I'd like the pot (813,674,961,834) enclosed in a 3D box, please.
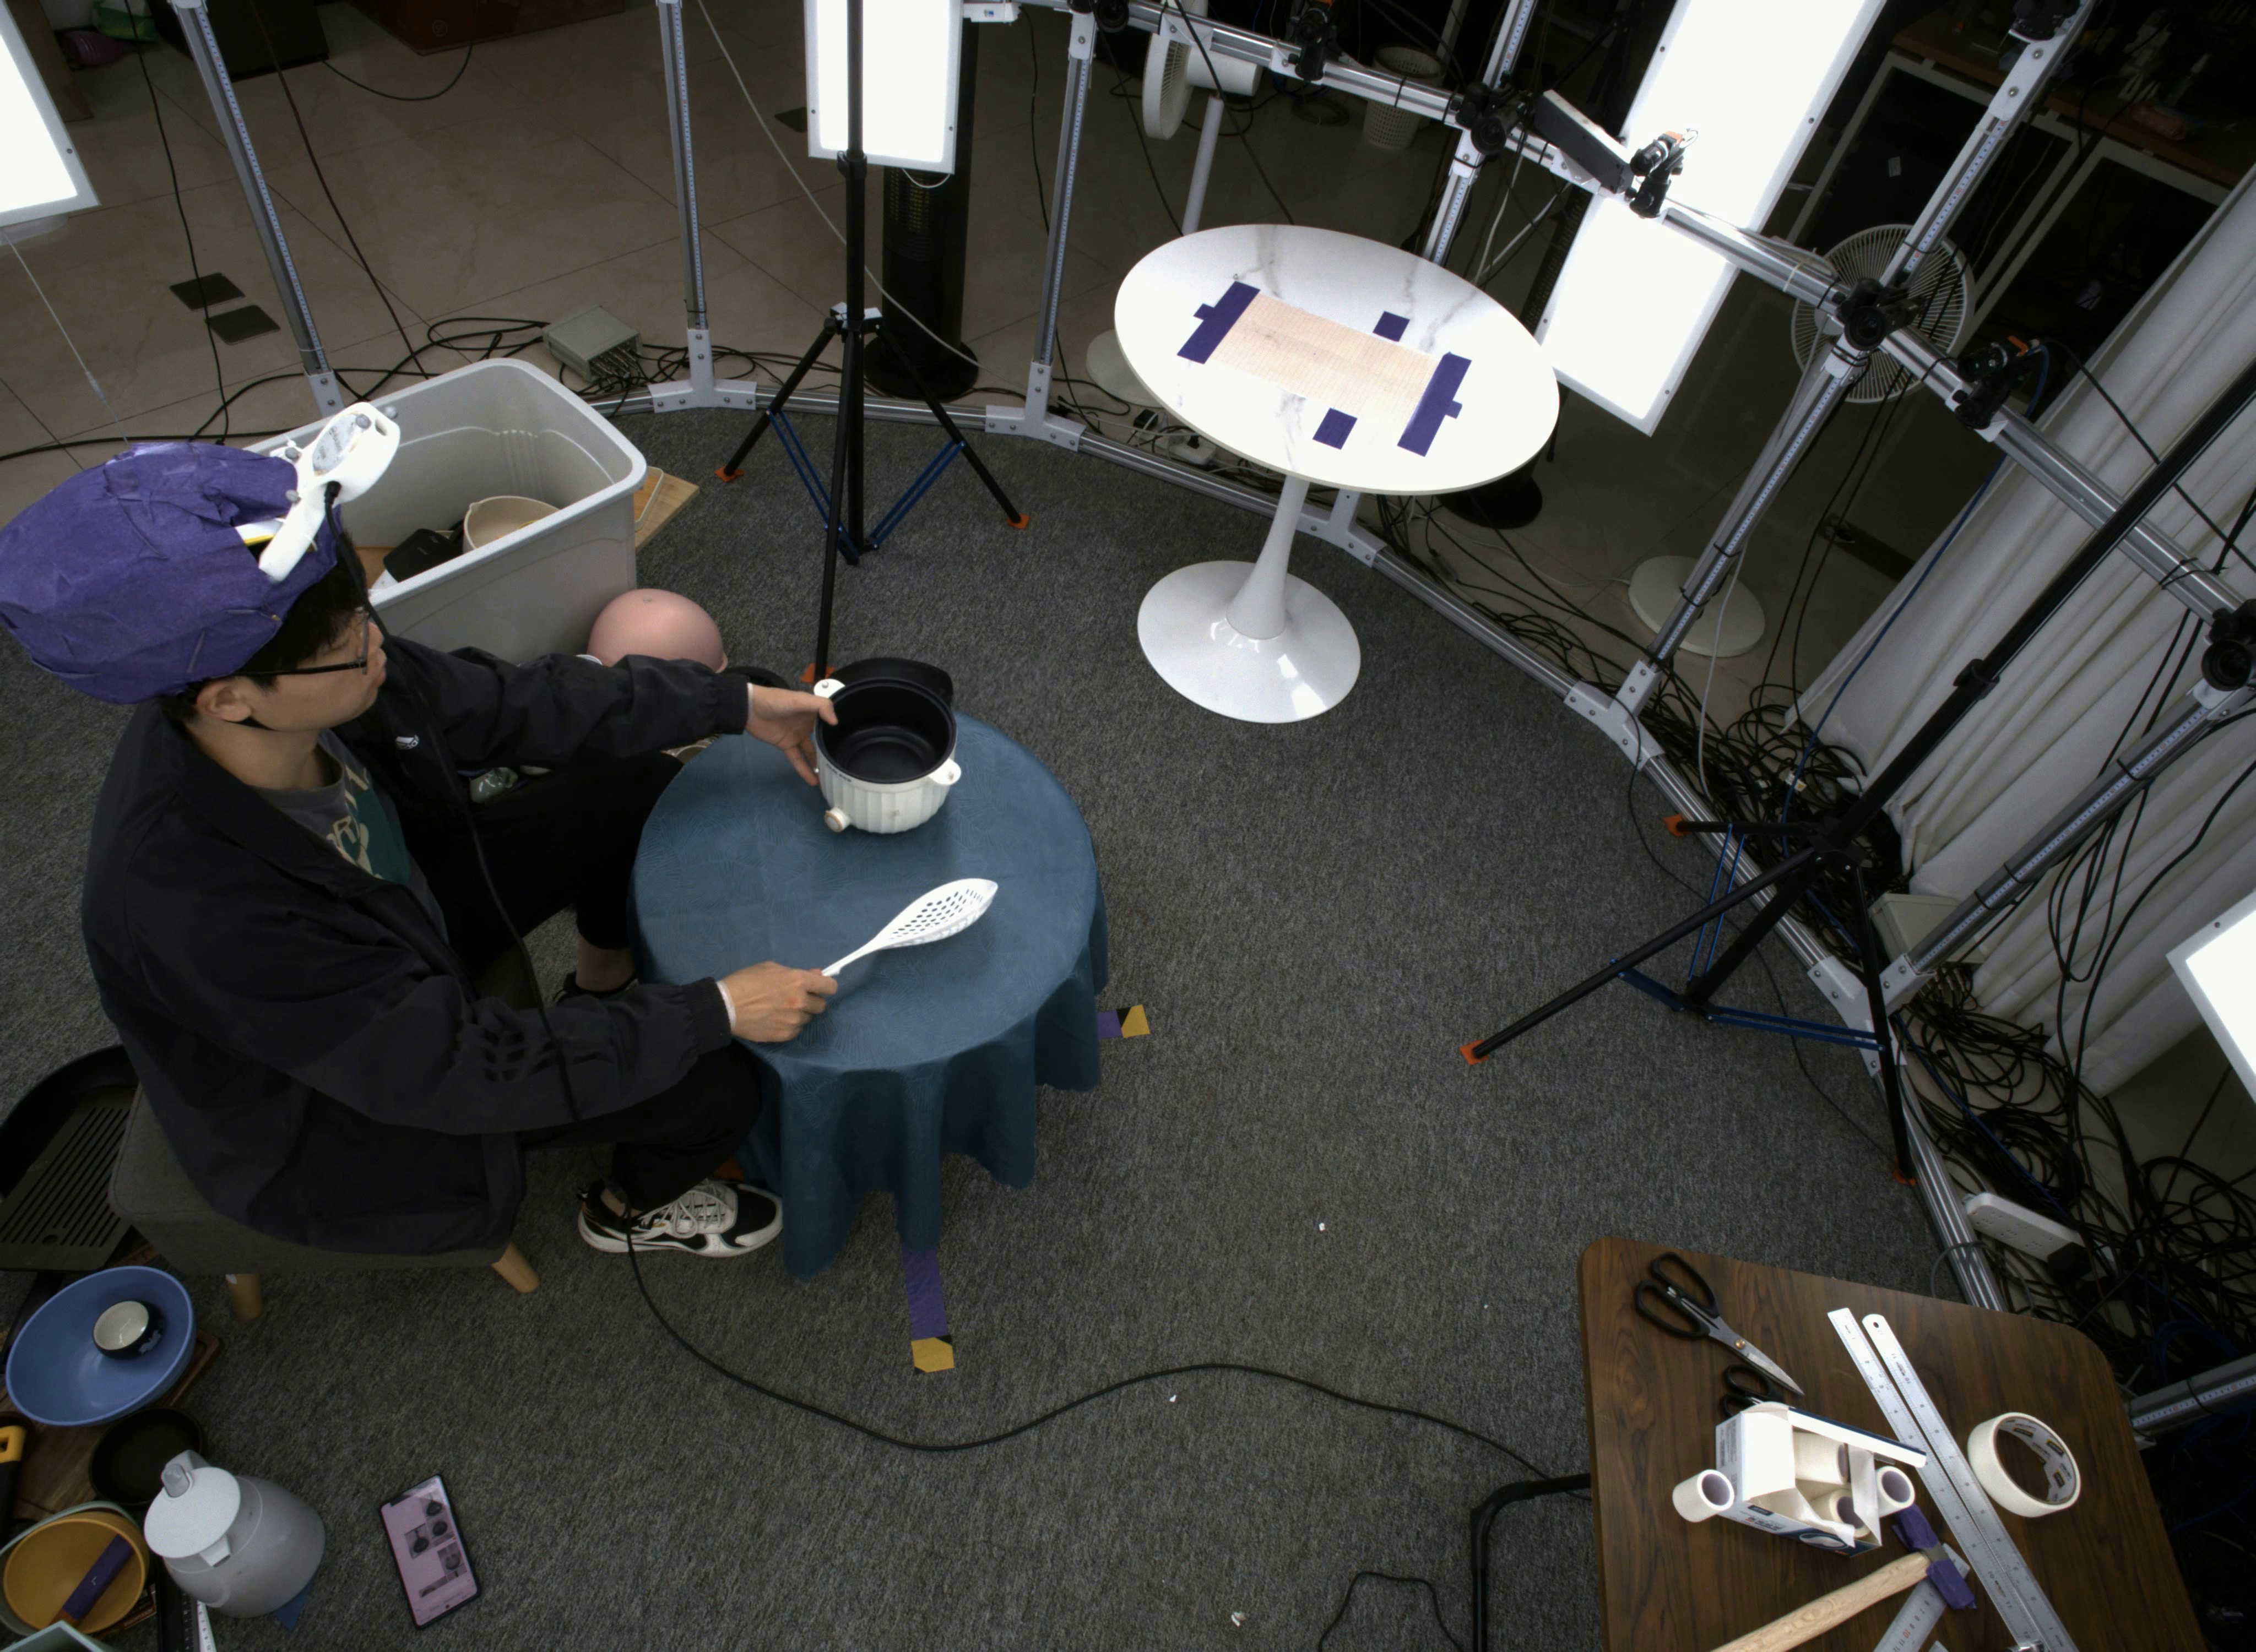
[{"bbox_3d":[-0.325,-0.084,1.722,0.235,0.146,0.190,33,50,14],"label":"pot"}]

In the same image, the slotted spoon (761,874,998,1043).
[{"bbox_3d":[-0.306,0.155,1.590,0.349,0.052,0.132,-28,24,-32],"label":"slotted spoon"}]
